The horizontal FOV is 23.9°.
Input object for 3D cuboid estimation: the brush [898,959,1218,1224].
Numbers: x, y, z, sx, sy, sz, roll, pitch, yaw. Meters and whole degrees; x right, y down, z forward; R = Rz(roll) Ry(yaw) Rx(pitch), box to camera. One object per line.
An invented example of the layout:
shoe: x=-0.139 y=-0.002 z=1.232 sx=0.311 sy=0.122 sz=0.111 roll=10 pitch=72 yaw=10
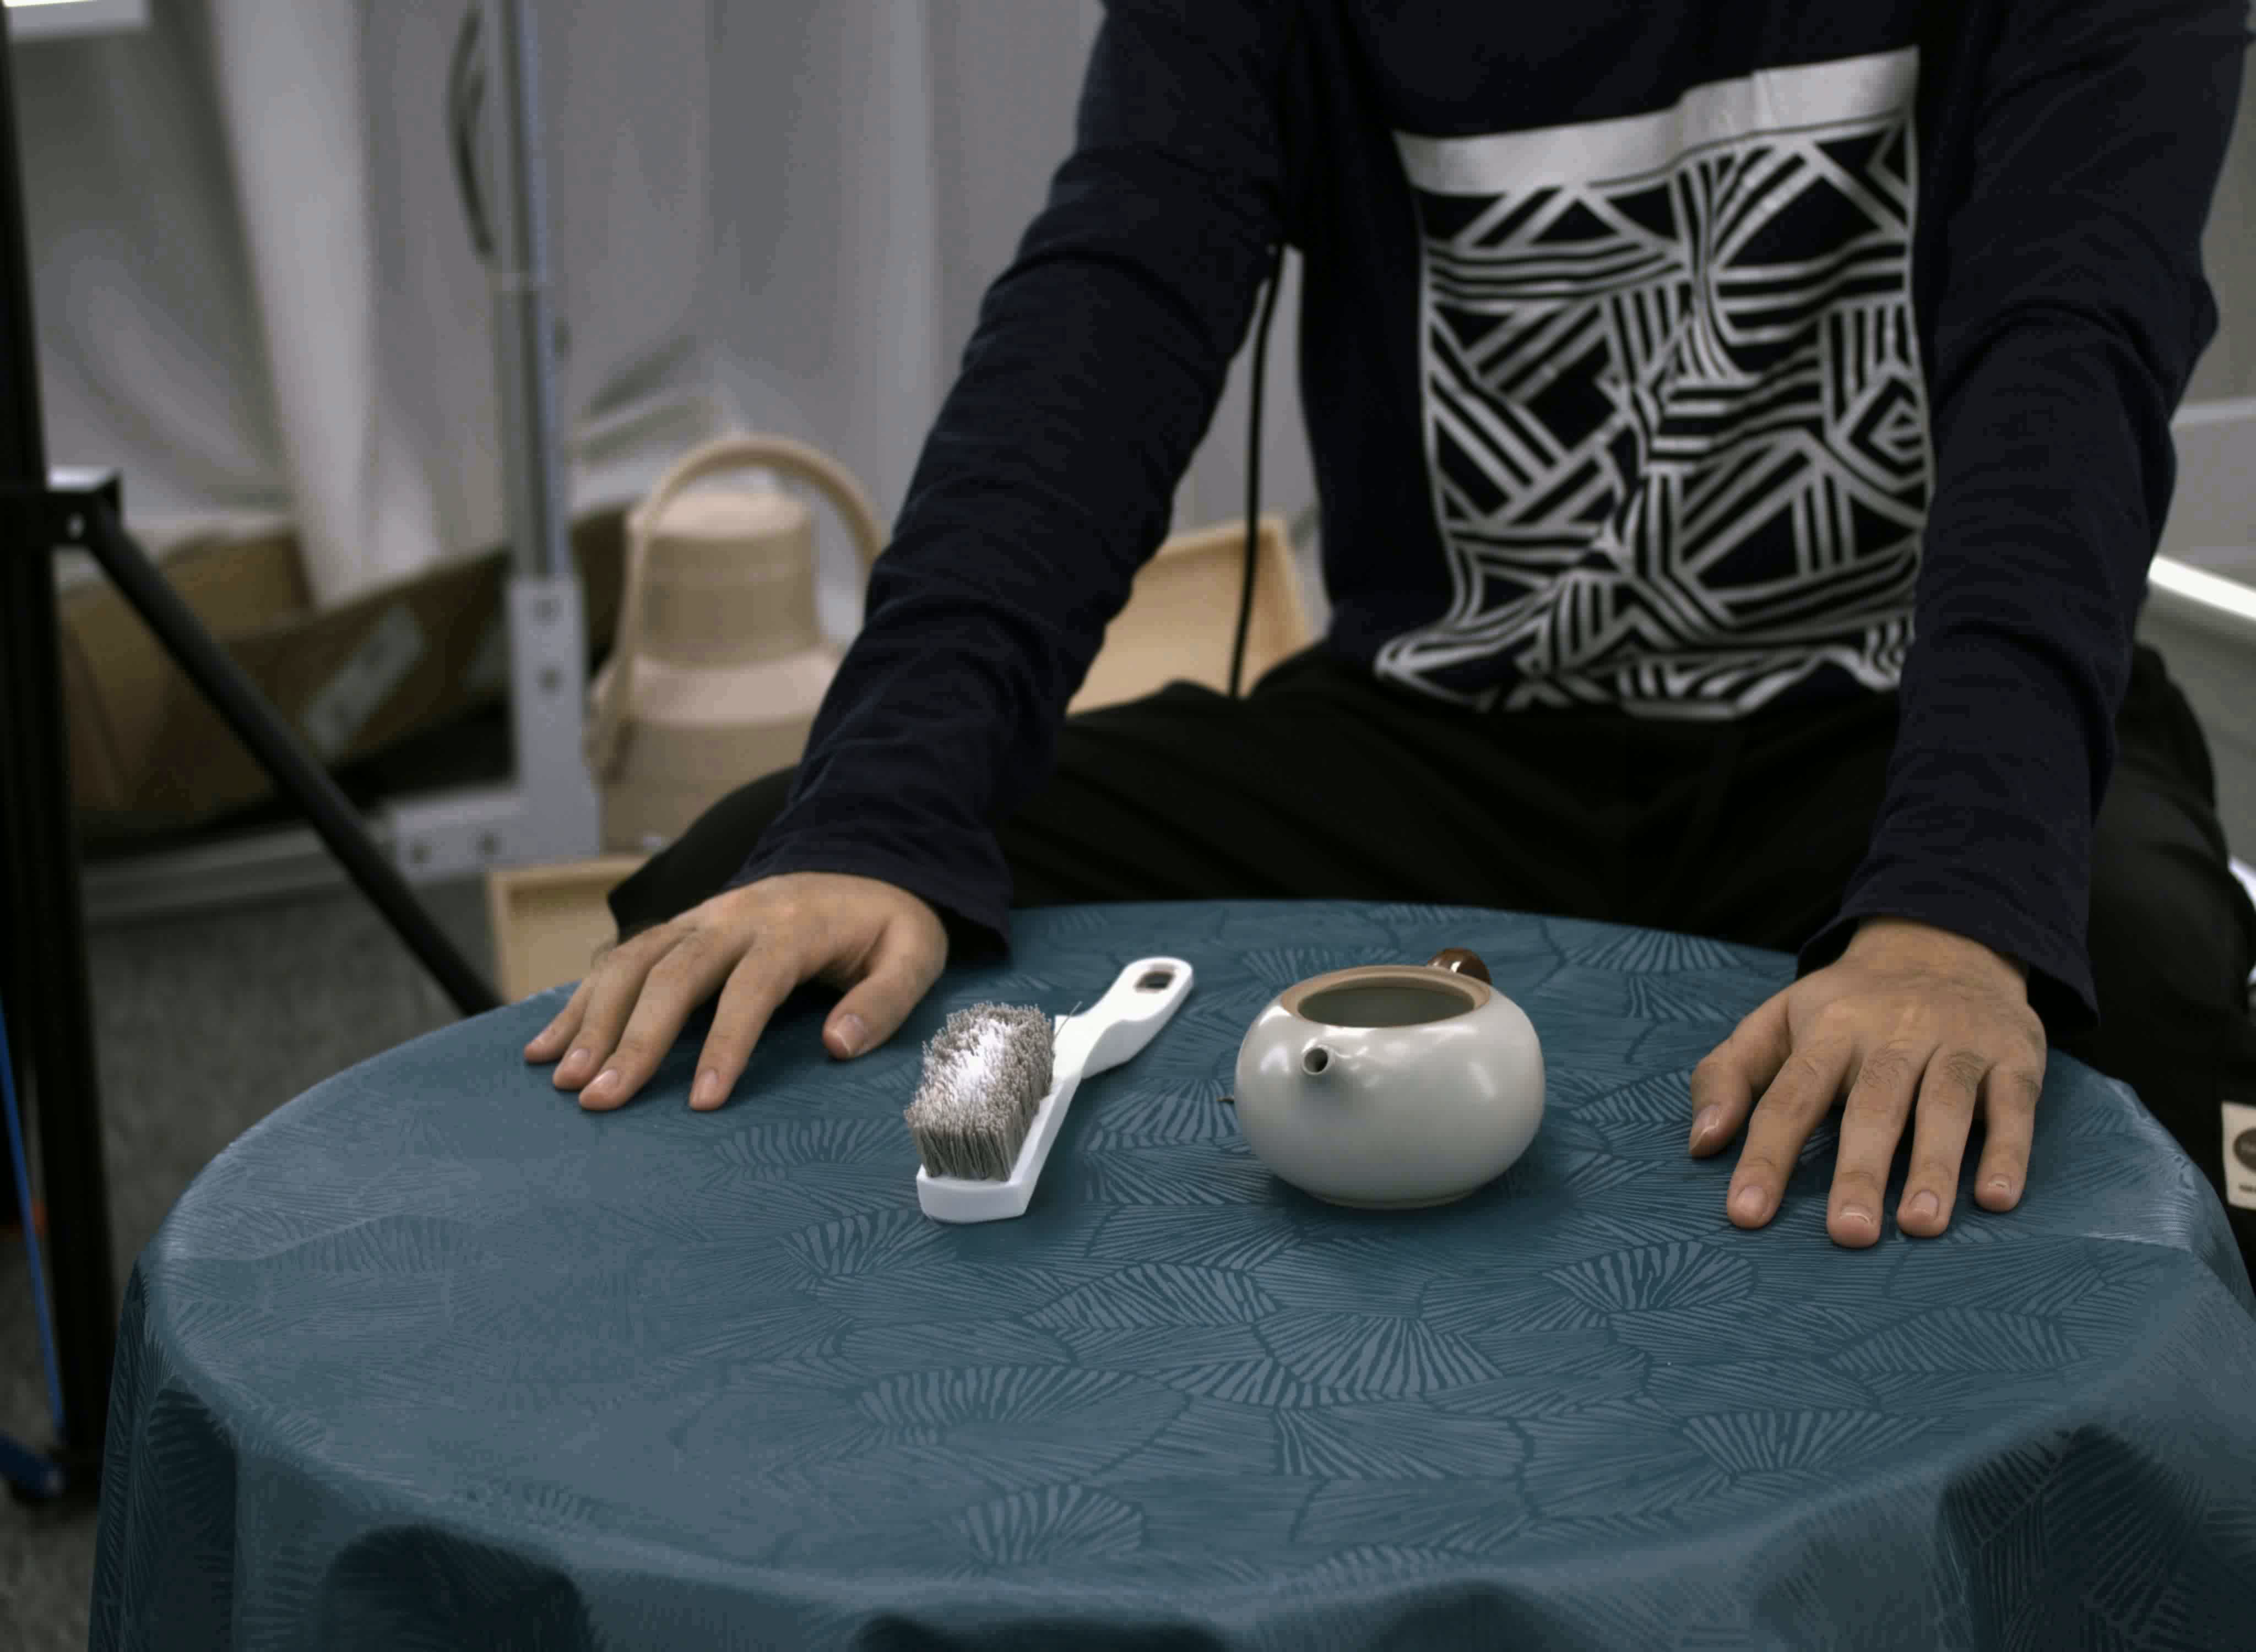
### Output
brush: x=-0.017 y=0.062 z=1.638 sx=0.035 sy=0.050 sz=0.241 roll=-1 pitch=16 yaw=19

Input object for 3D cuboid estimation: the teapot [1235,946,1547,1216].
teapot: x=0.081 y=0.075 z=1.561 sx=0.093 sy=0.059 sz=0.126 roll=1 pitch=17 yaw=25
